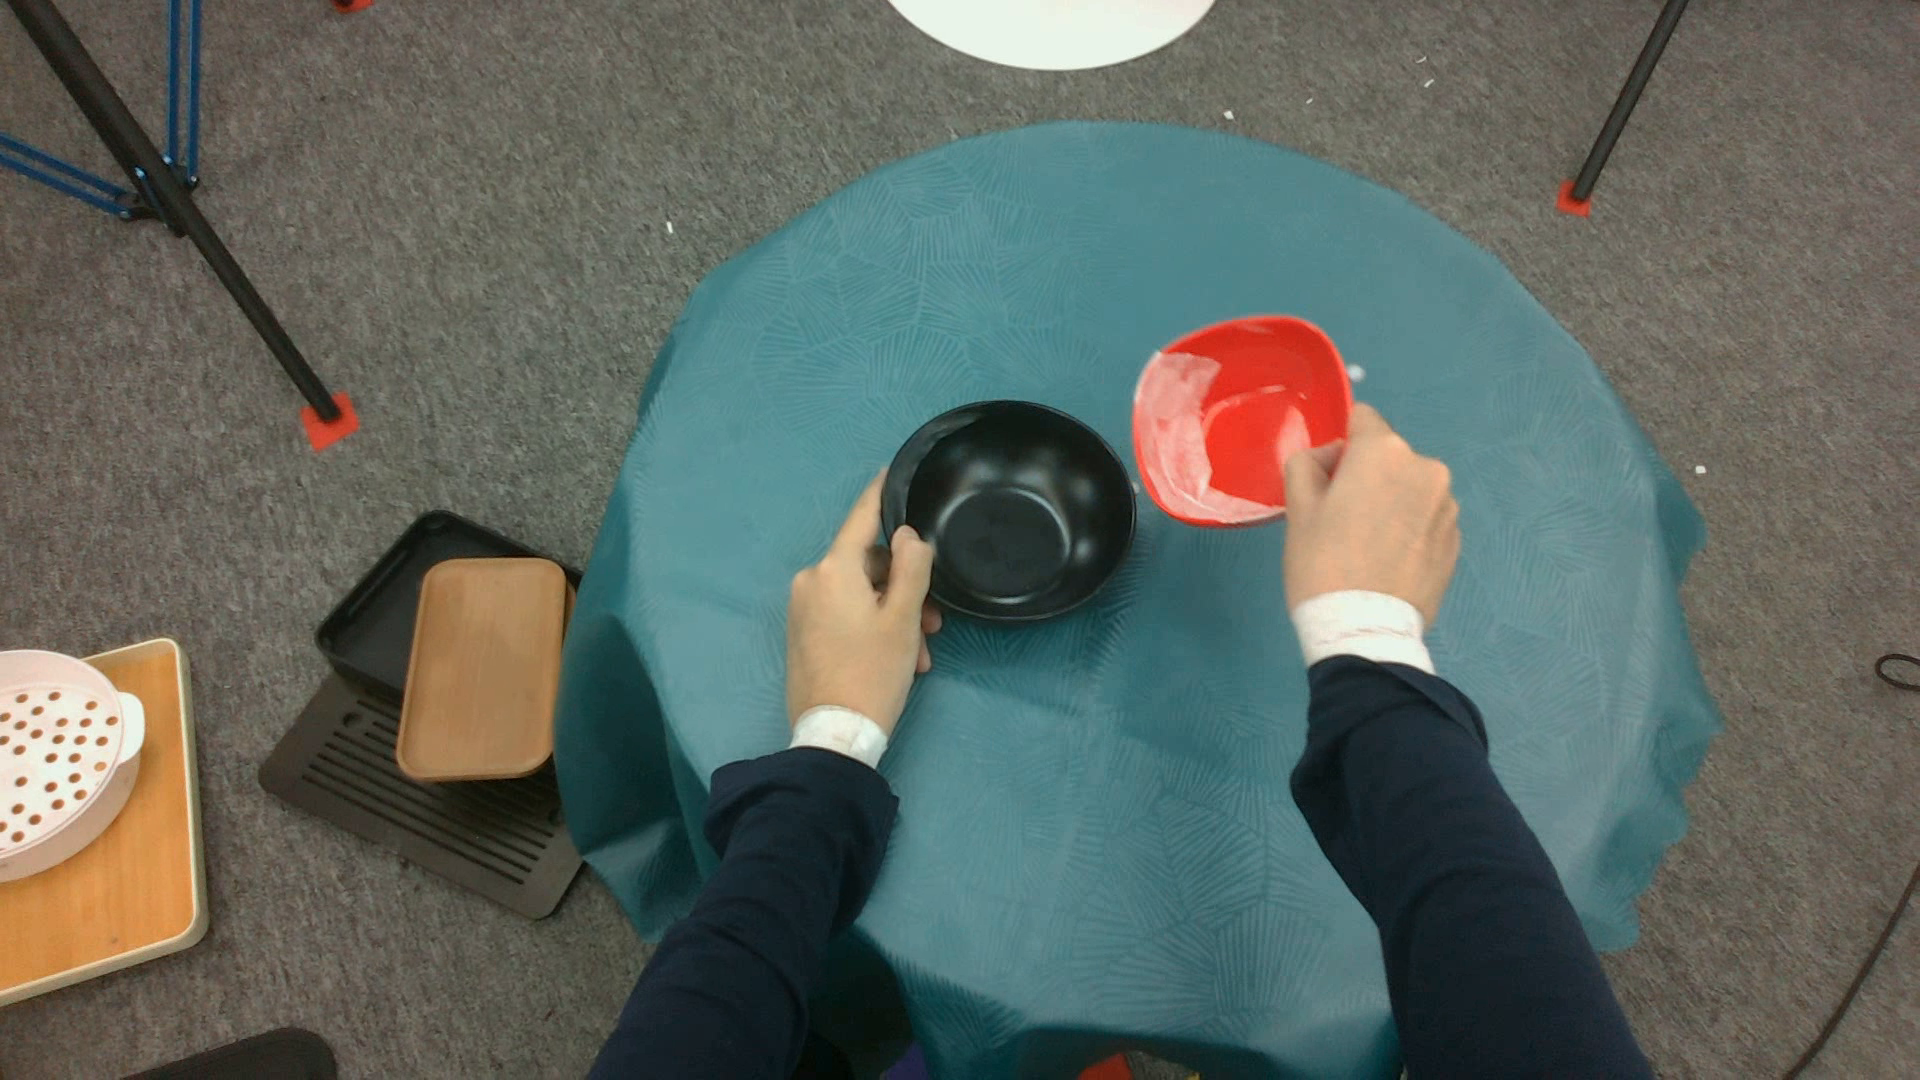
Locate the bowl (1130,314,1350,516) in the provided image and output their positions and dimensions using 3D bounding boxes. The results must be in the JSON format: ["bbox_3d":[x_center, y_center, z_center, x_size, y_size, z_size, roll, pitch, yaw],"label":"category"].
[{"bbox_3d":[0.147,-0.056,0.713,0.118,0.051,0.119,-9,62,18],"label":"bowl"}]

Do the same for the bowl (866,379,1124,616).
[{"bbox_3d":[0.018,-0.017,0.759,0.140,0.049,0.140,1,66,-2],"label":"bowl"}]
